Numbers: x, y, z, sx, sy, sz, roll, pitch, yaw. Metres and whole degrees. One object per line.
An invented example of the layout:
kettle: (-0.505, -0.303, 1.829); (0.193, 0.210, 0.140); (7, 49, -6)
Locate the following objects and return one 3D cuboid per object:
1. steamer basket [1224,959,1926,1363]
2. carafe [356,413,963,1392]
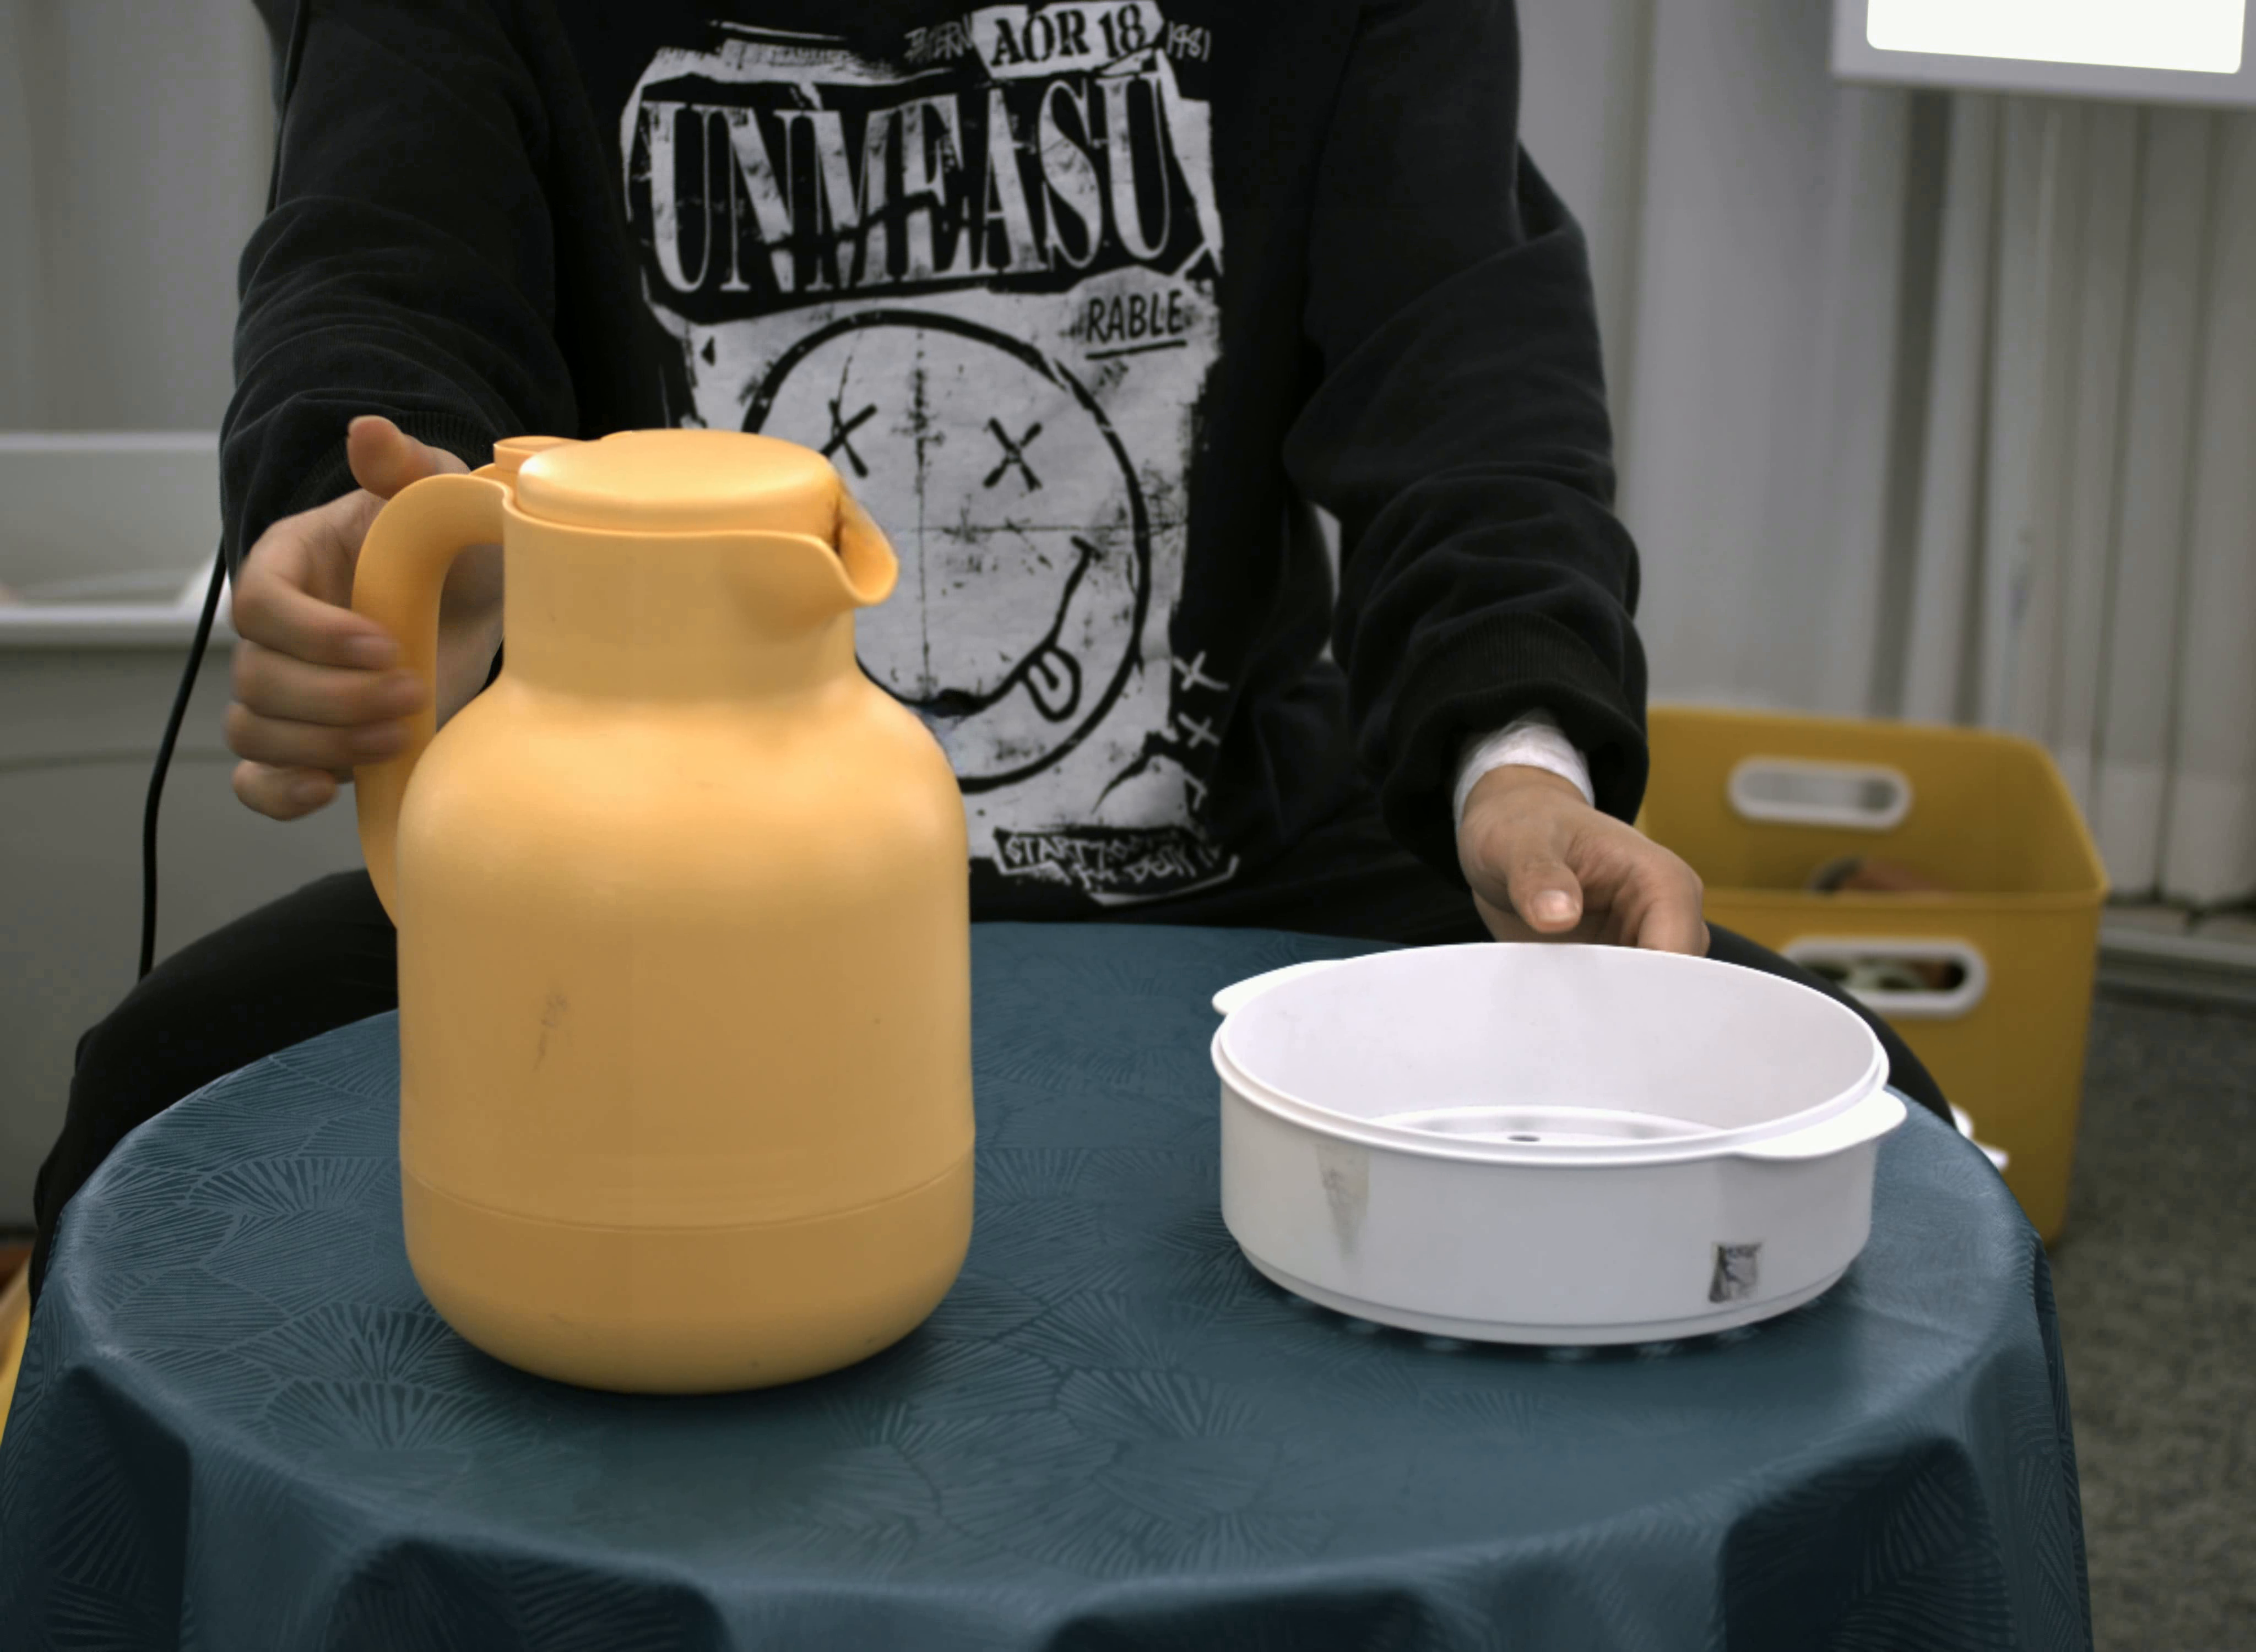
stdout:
steamer basket: (0.129, 0.099, 1.564); (0.227, 0.070, 0.203); (13, 21, 39)
carafe: (-0.140, 0.013, 1.482); (0.199, 0.262, 0.164); (16, 20, 39)
